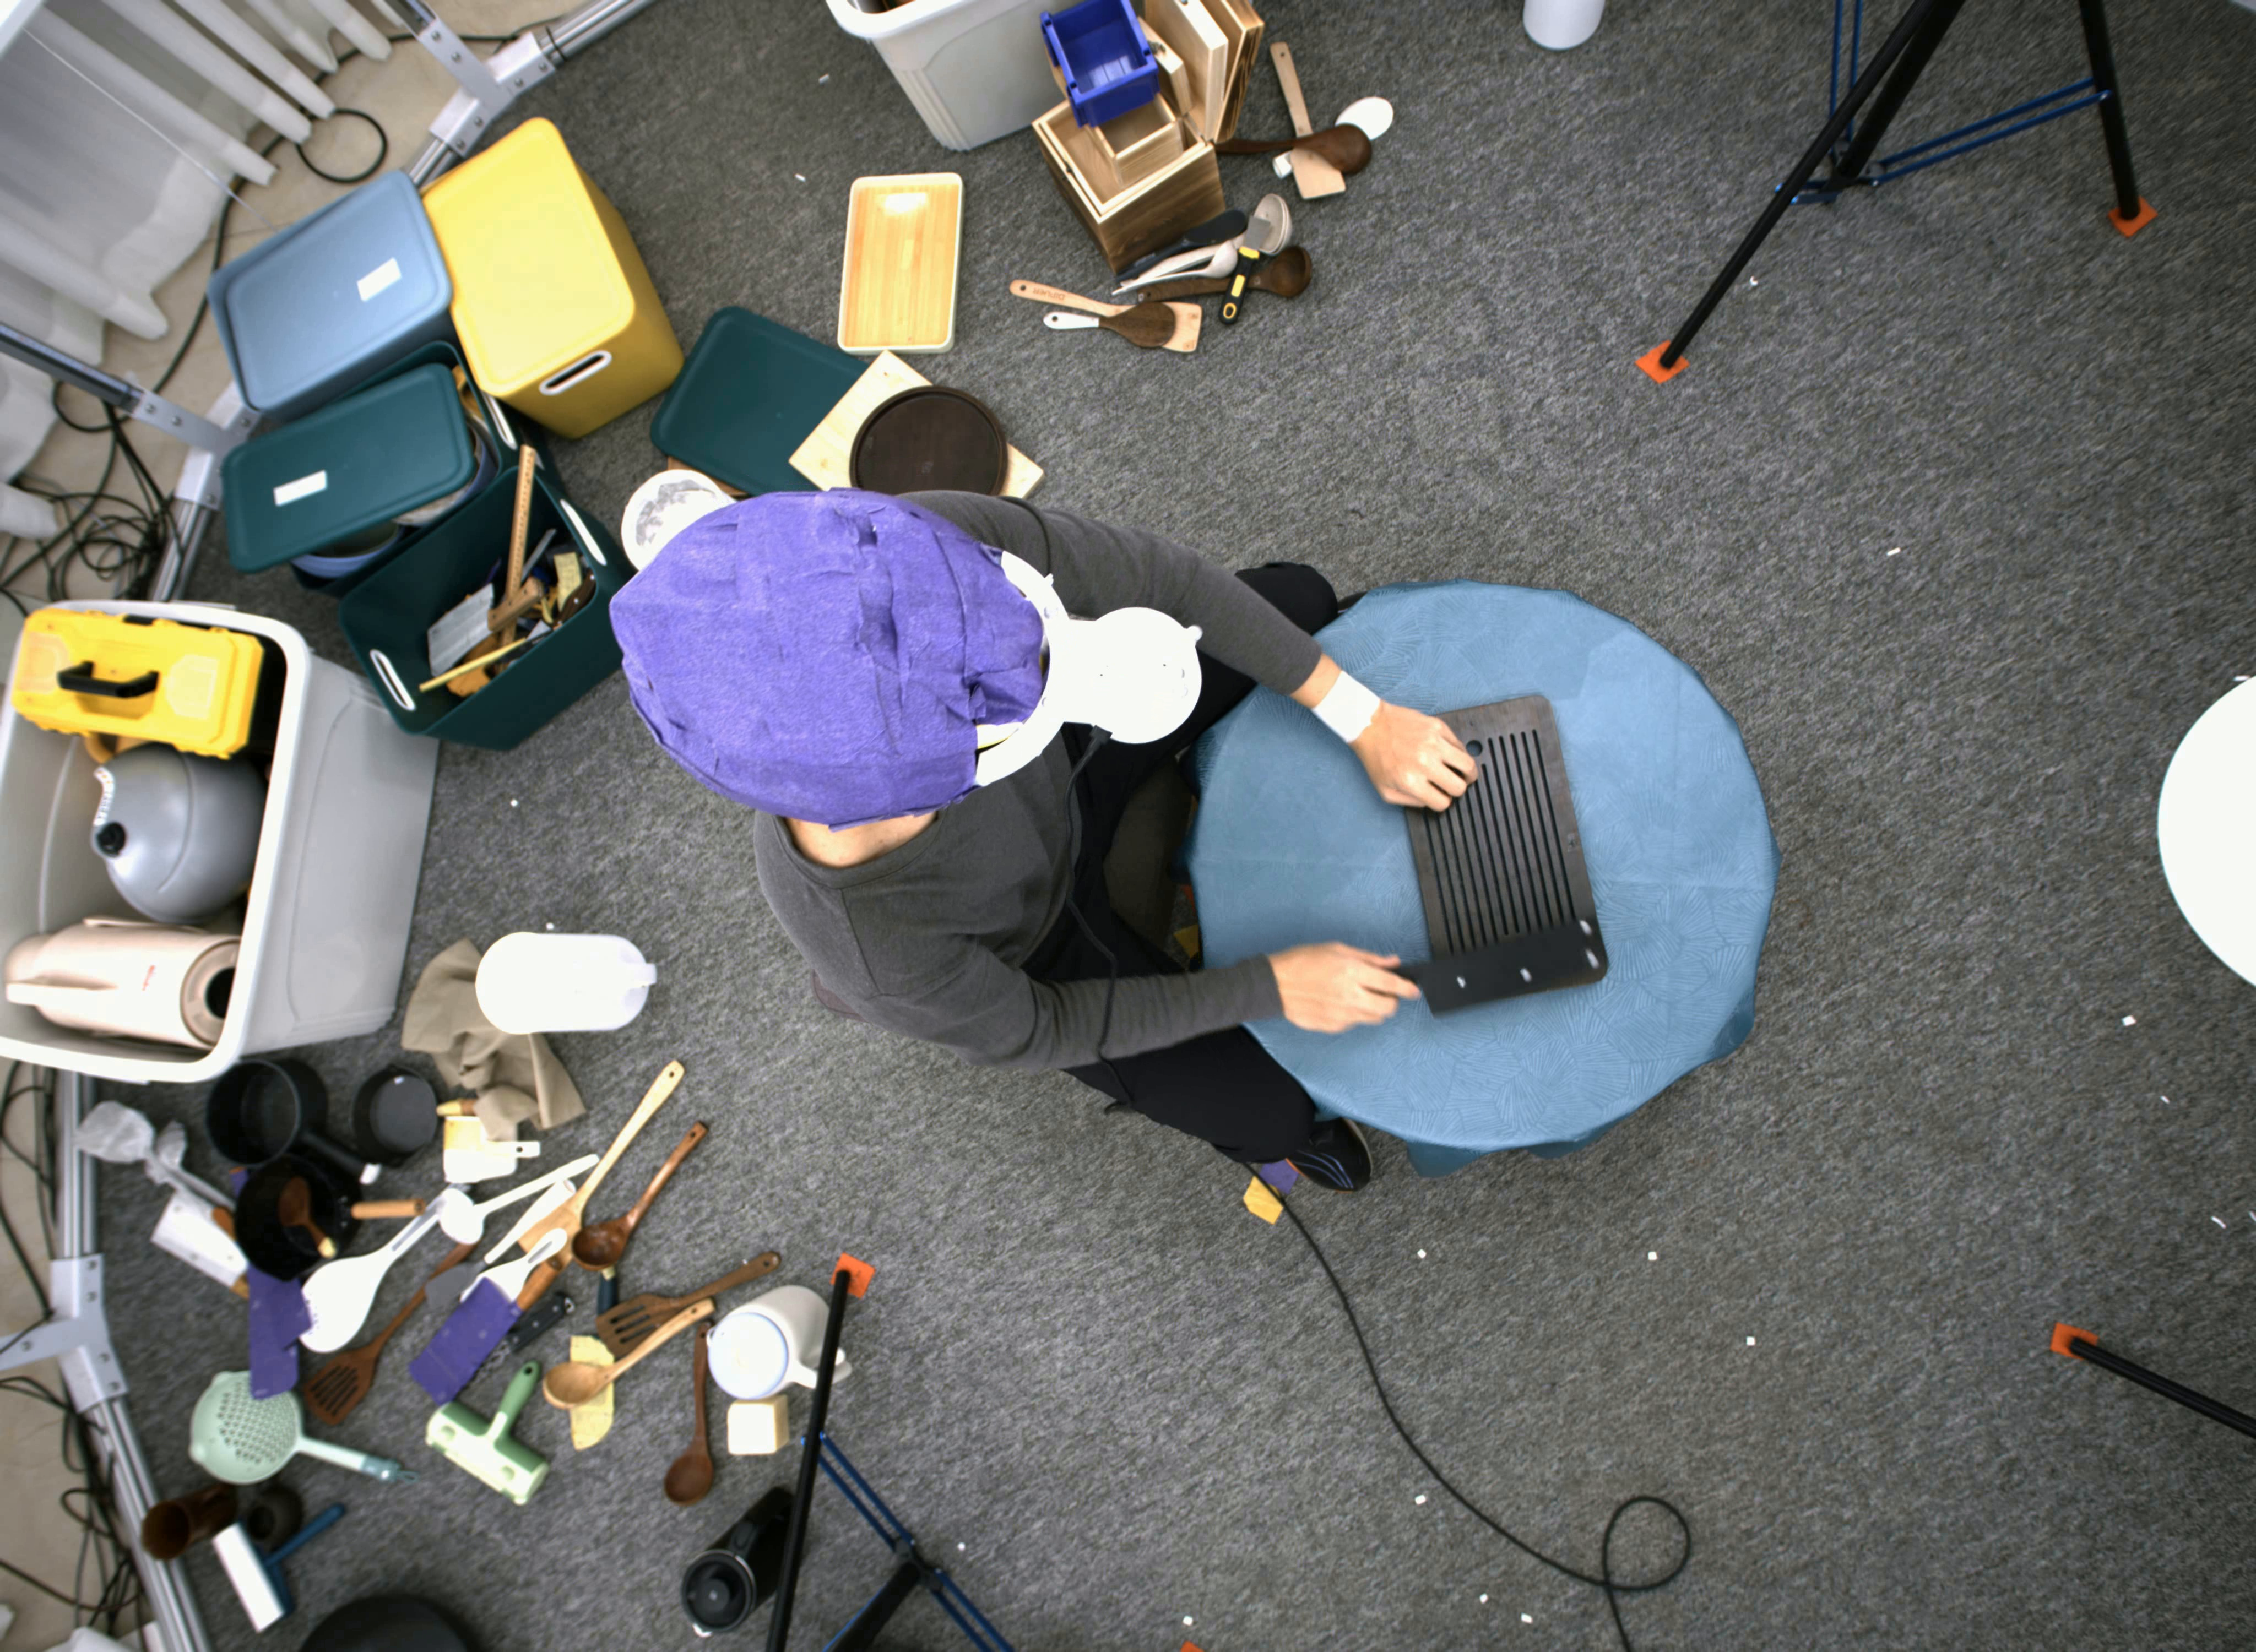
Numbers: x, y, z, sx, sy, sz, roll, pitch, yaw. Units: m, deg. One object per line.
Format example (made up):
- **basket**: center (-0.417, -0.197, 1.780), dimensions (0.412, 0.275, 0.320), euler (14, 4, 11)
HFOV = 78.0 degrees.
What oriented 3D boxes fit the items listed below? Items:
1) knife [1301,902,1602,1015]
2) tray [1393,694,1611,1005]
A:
- **knife**: center (0.316, 0.140, 1.371), dimensions (0.304, 0.020, 0.082), euler (-15, 116, 14)
- **tray**: center (0.387, 0.022, 1.431), dimensions (0.171, 0.018, 0.304), euler (-11, 84, 11)
